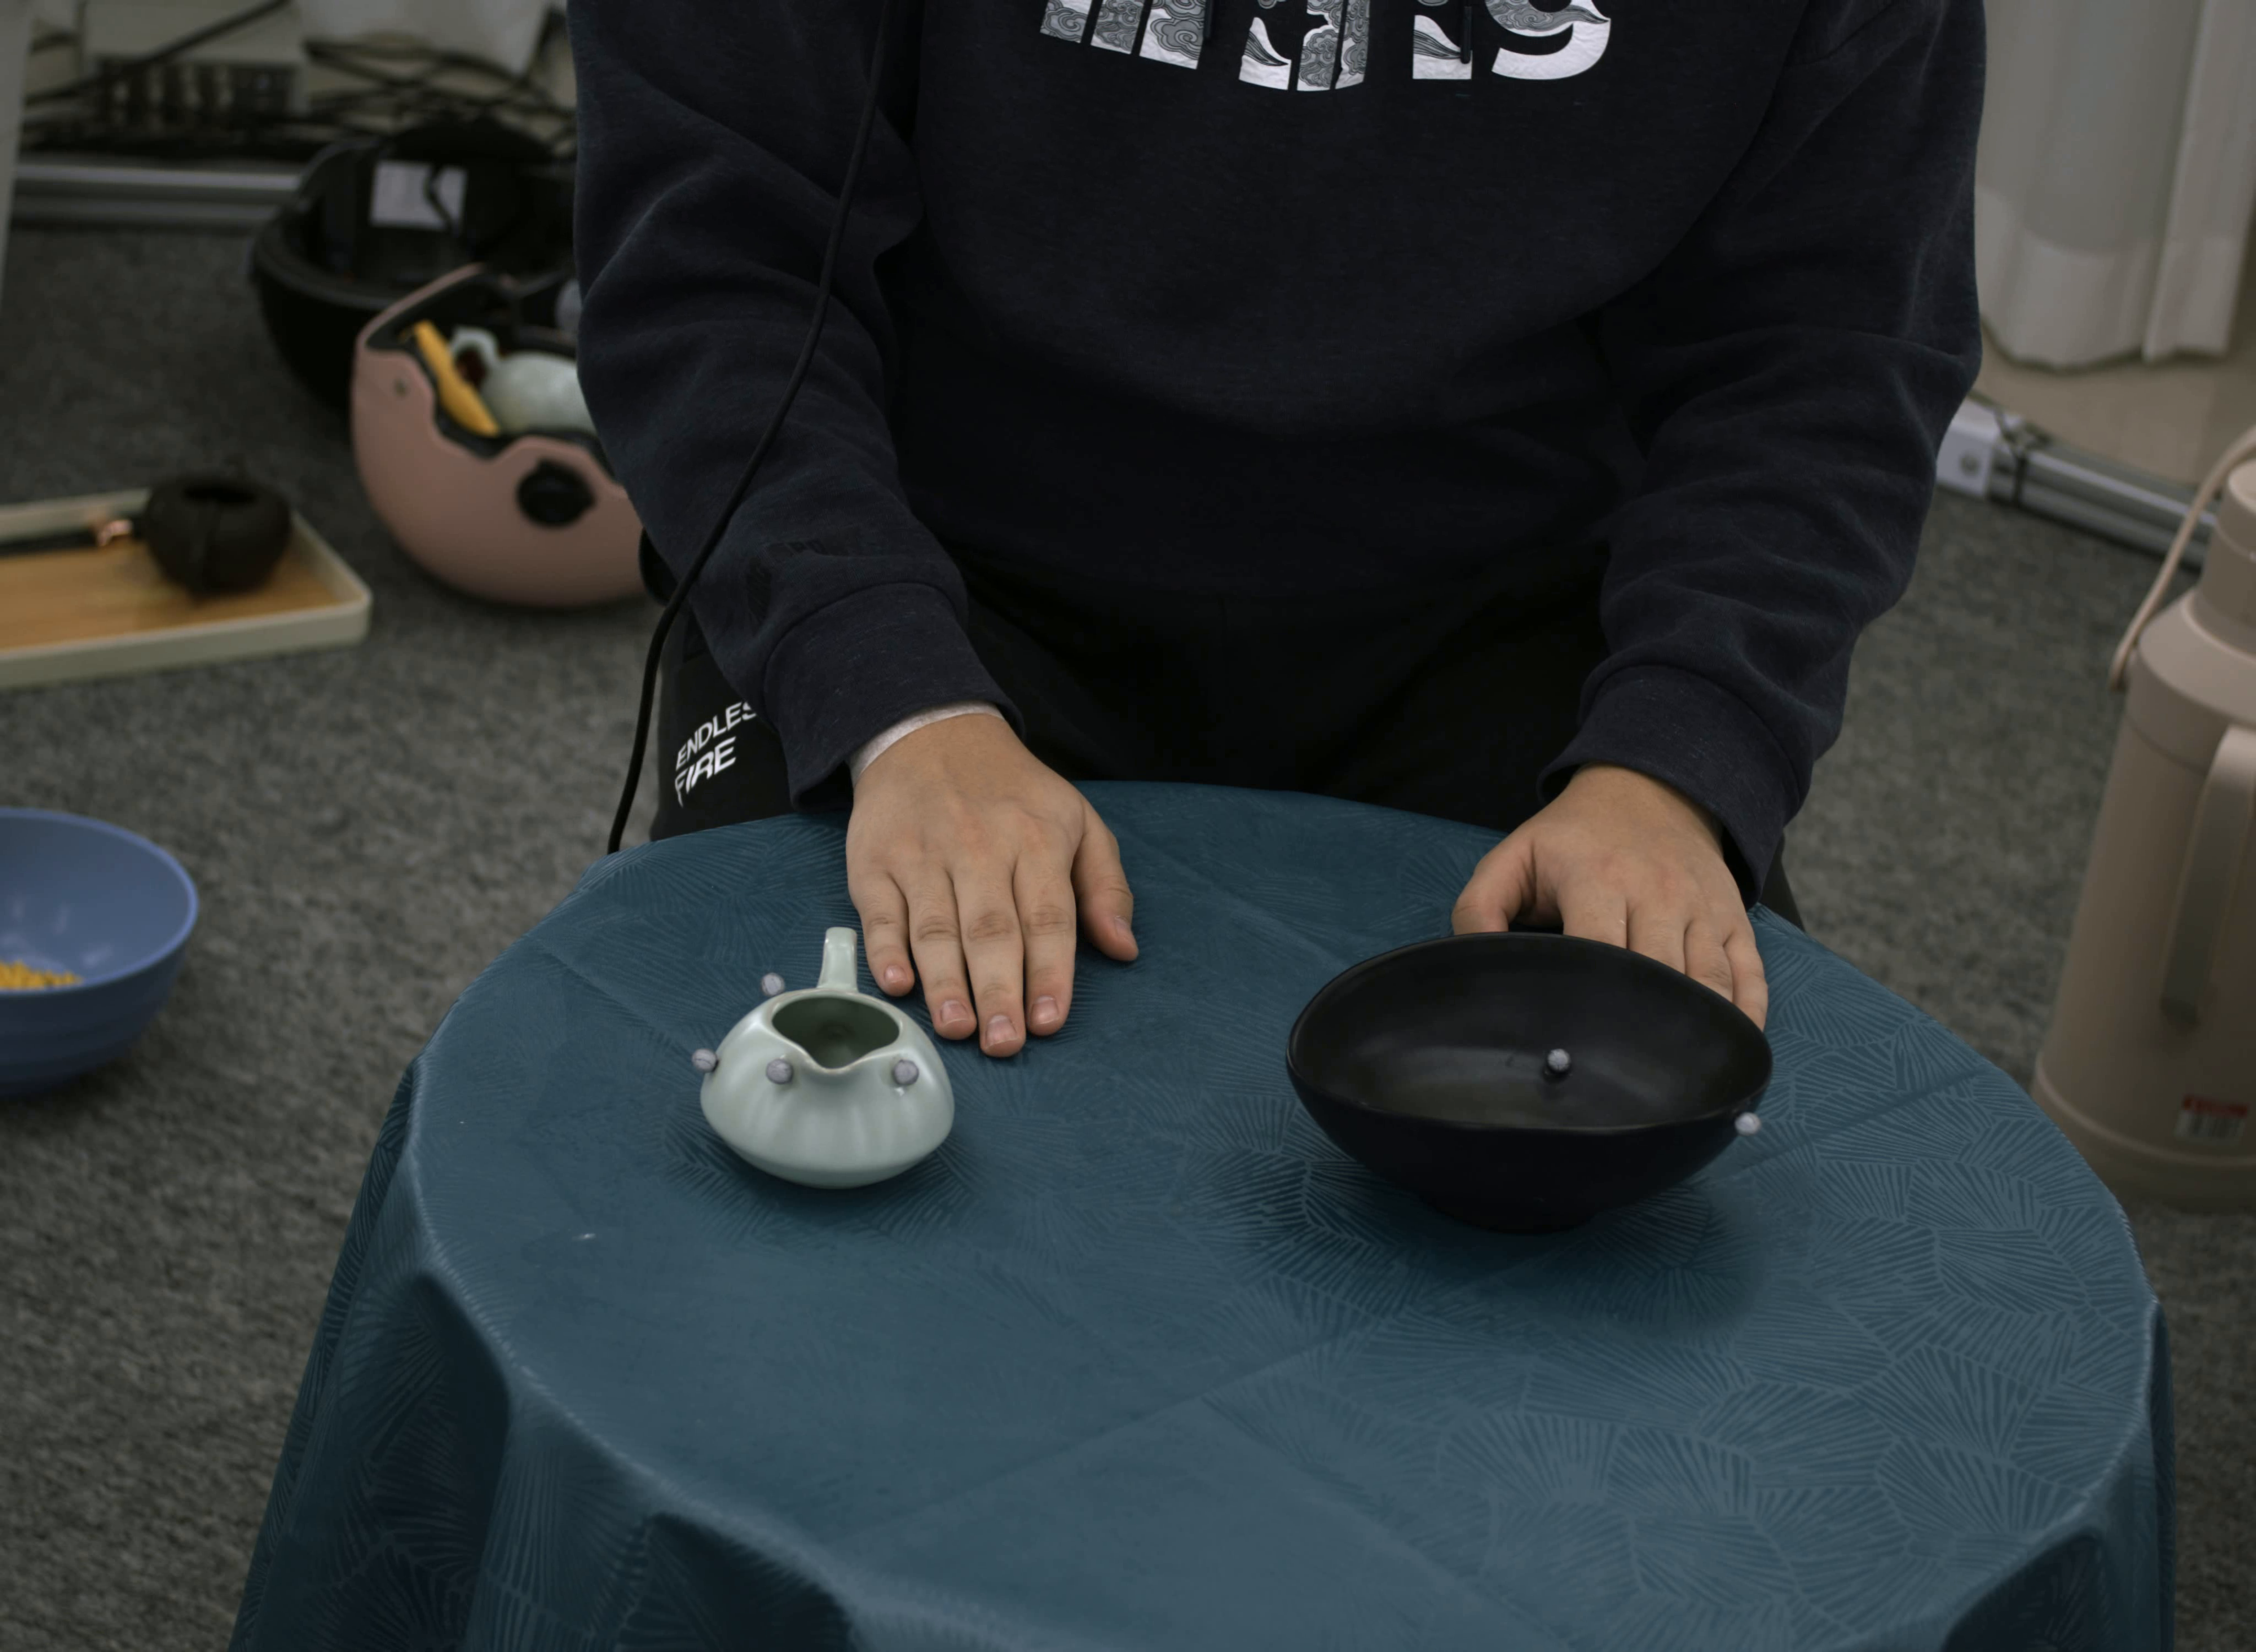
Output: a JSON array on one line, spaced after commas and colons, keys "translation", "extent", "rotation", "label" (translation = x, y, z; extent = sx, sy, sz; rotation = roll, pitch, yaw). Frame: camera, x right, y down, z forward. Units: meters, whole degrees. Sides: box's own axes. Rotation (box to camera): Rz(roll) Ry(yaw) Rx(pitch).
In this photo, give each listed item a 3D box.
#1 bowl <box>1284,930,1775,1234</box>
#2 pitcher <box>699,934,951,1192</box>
[{"translation": [0.136, 0.097, 1.823], "extent": [0.169, 0.066, 0.138], "rotation": [-2, 27, -15], "label": "bowl"}, {"translation": [-0.101, 0.081, 1.804], "extent": [0.085, 0.060, 0.108], "rotation": [6, 25, -5], "label": "pitcher"}]
